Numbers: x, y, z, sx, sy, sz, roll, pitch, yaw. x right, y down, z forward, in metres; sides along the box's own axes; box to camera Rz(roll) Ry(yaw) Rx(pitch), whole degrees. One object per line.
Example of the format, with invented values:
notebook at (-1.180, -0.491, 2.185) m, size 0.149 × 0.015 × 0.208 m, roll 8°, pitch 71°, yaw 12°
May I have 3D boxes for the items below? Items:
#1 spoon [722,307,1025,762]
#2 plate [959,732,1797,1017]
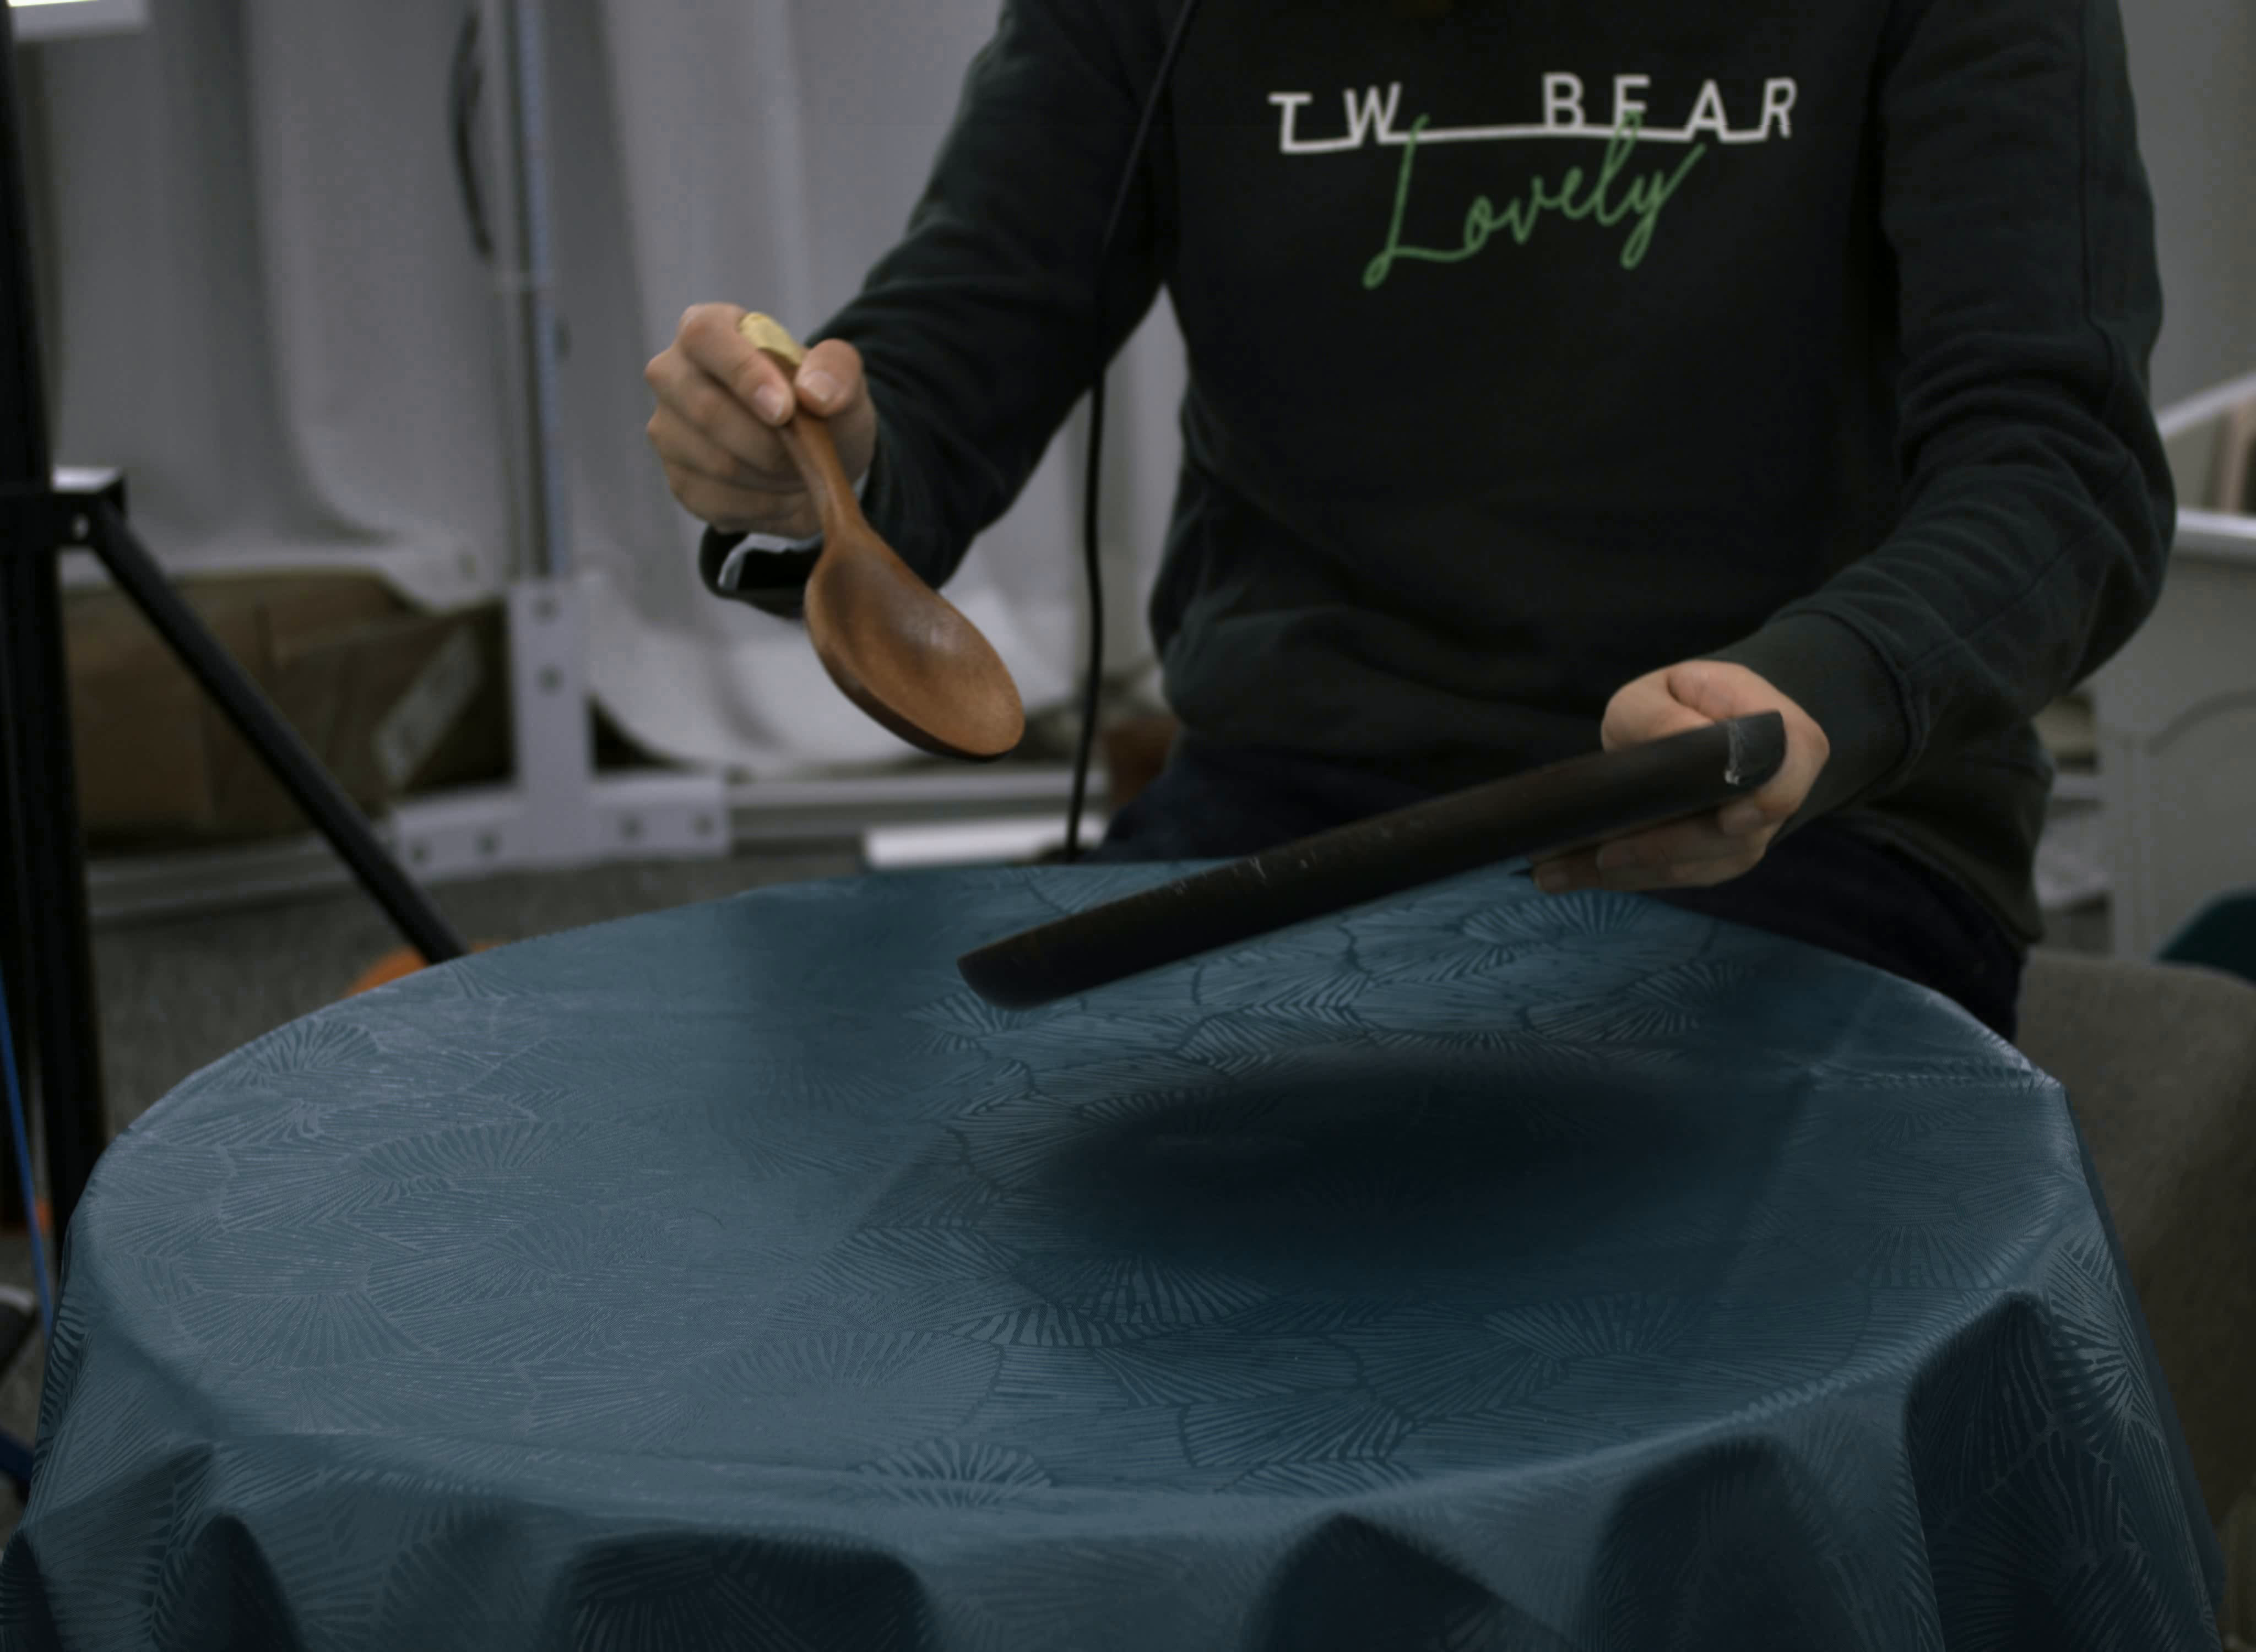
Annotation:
spoon at (-0.088, -0.090, 1.658) m, size 0.073 × 0.017 × 0.220 m, roll 13°, pitch 35°, yaw -34°
plate at (0.074, 0.015, 1.551) m, size 0.253 × 0.029 × 0.255 m, roll -16°, pitch -1°, yaw -2°
